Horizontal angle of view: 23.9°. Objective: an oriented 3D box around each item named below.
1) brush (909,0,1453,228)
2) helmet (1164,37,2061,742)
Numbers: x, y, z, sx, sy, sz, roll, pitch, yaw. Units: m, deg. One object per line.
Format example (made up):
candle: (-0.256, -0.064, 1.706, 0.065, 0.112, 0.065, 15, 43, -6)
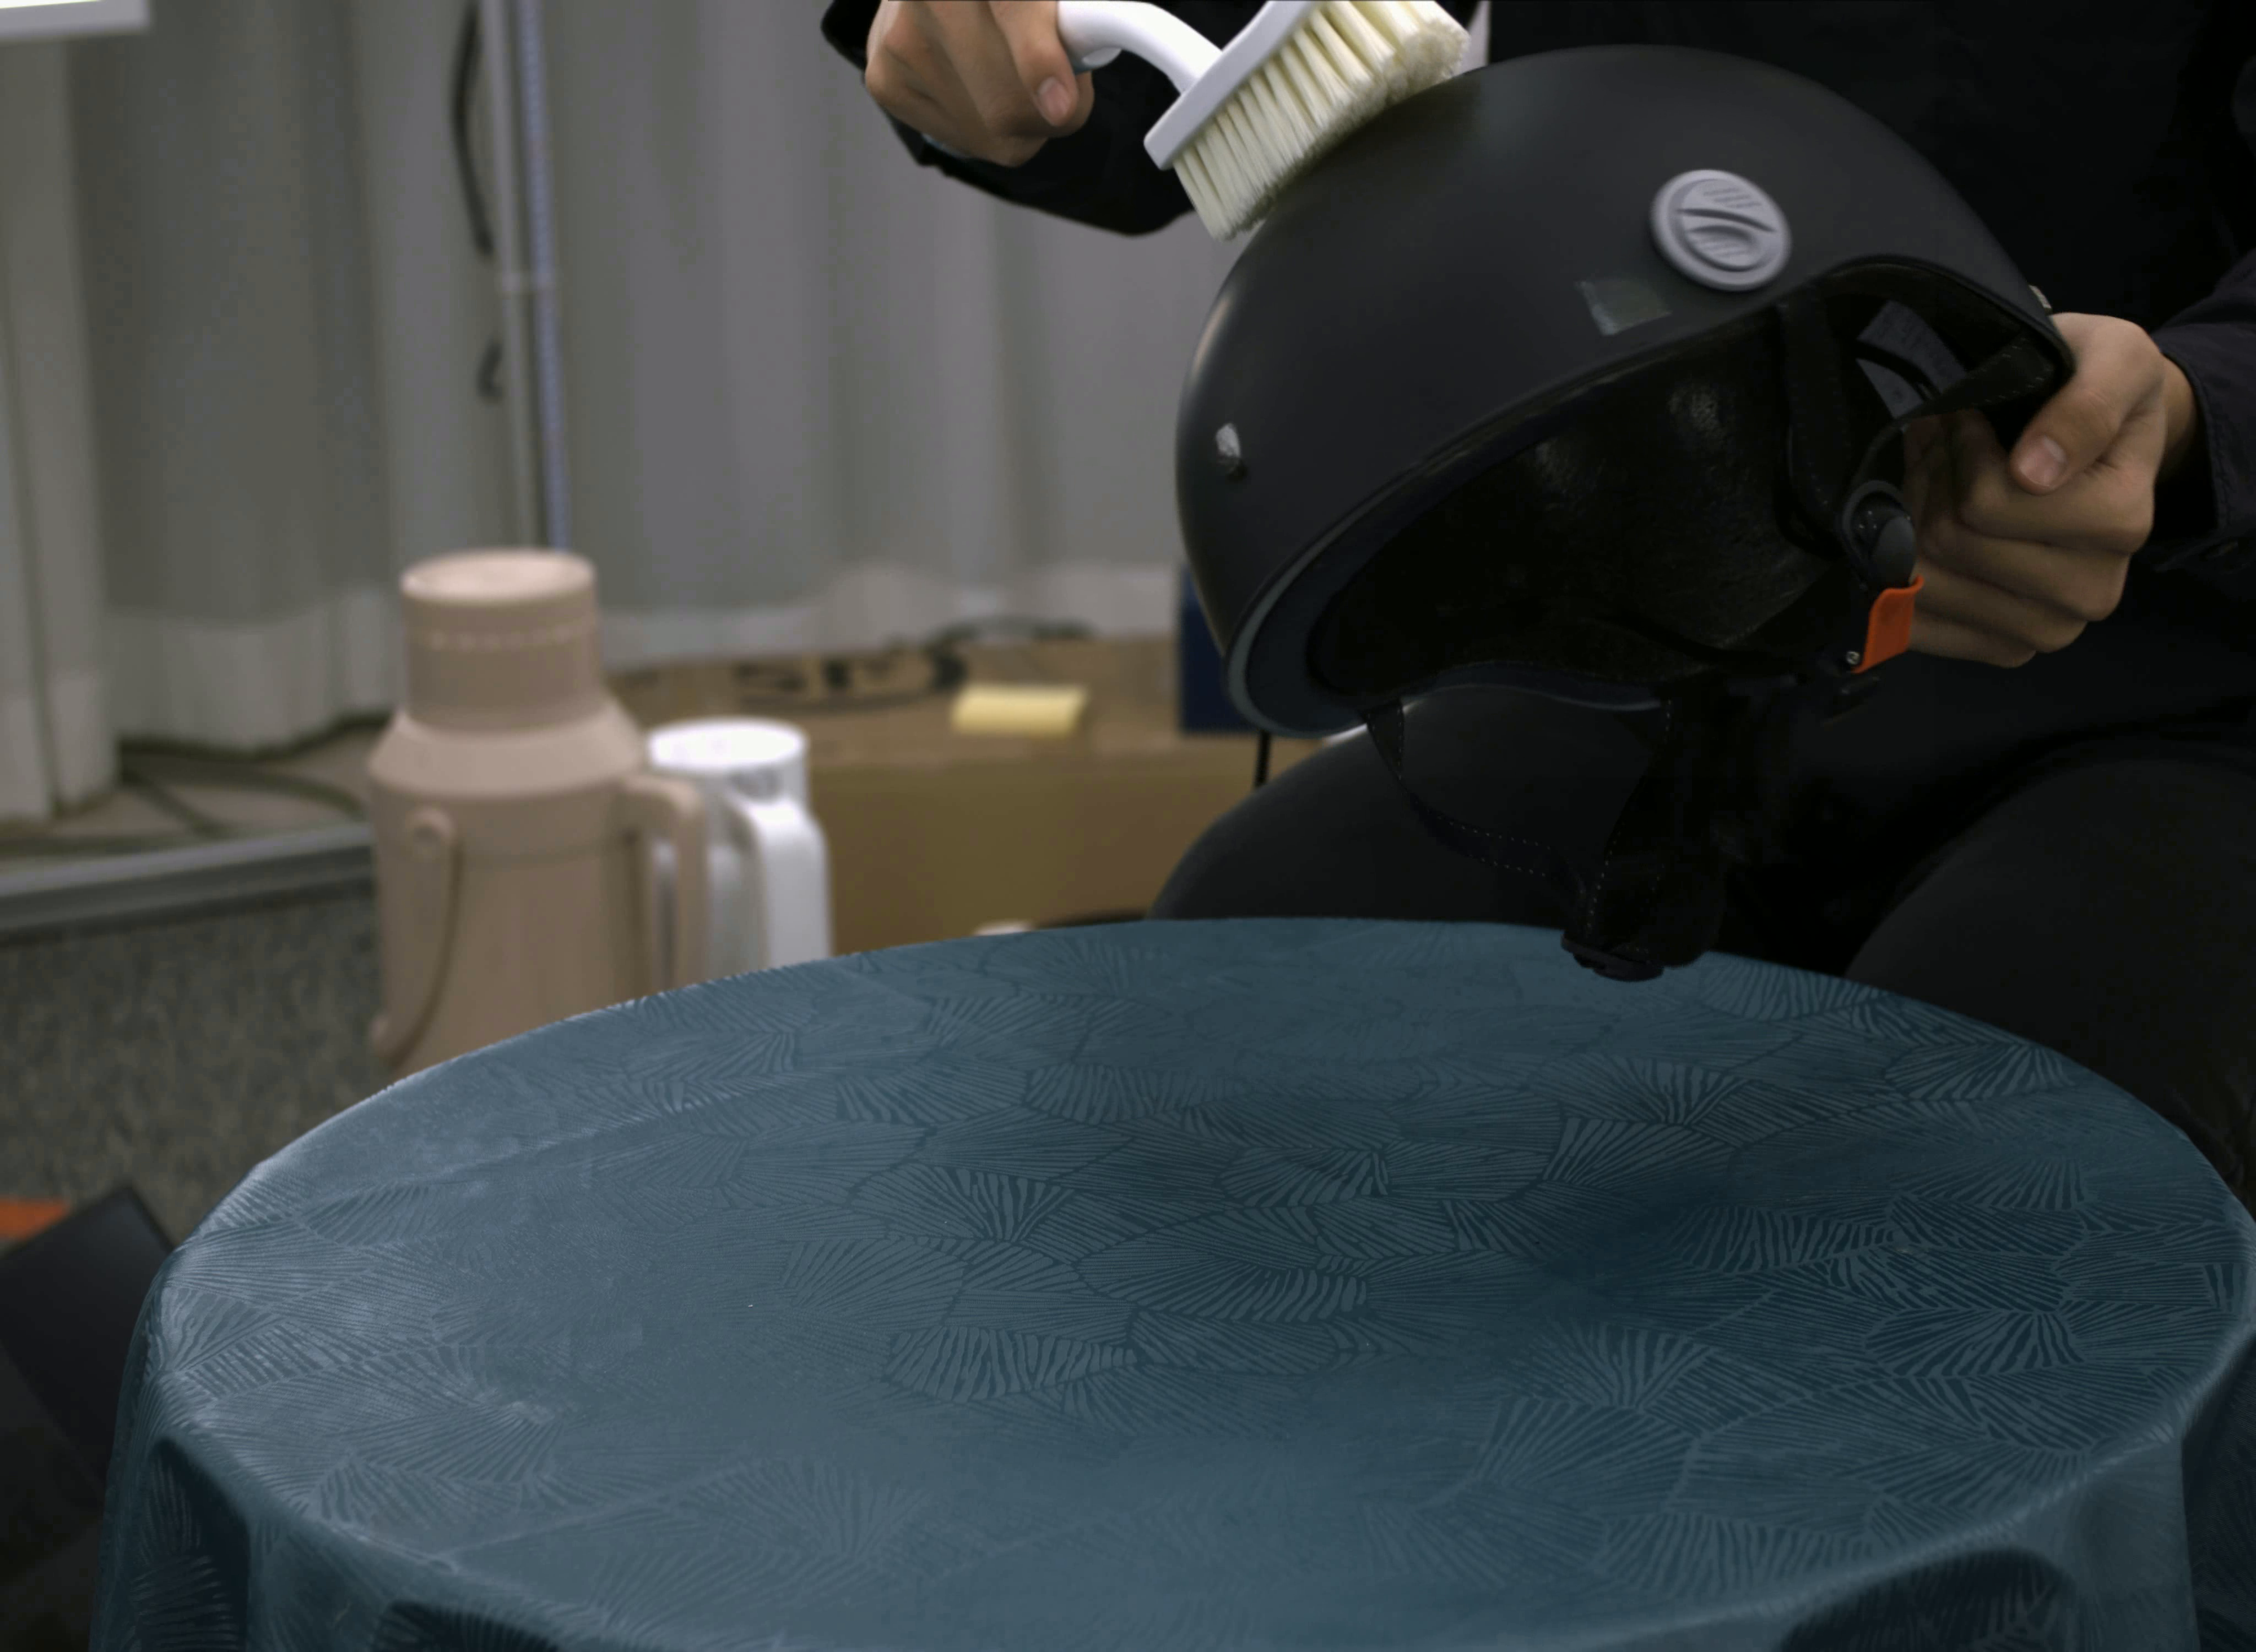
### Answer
brush: (0.018, -0.213, 1.609, 0.081, 0.085, 0.330, 7, -4, -21)
helmet: (0.124, -0.134, 1.531, 0.266, 0.169, 0.232, -4, -31, -32)
